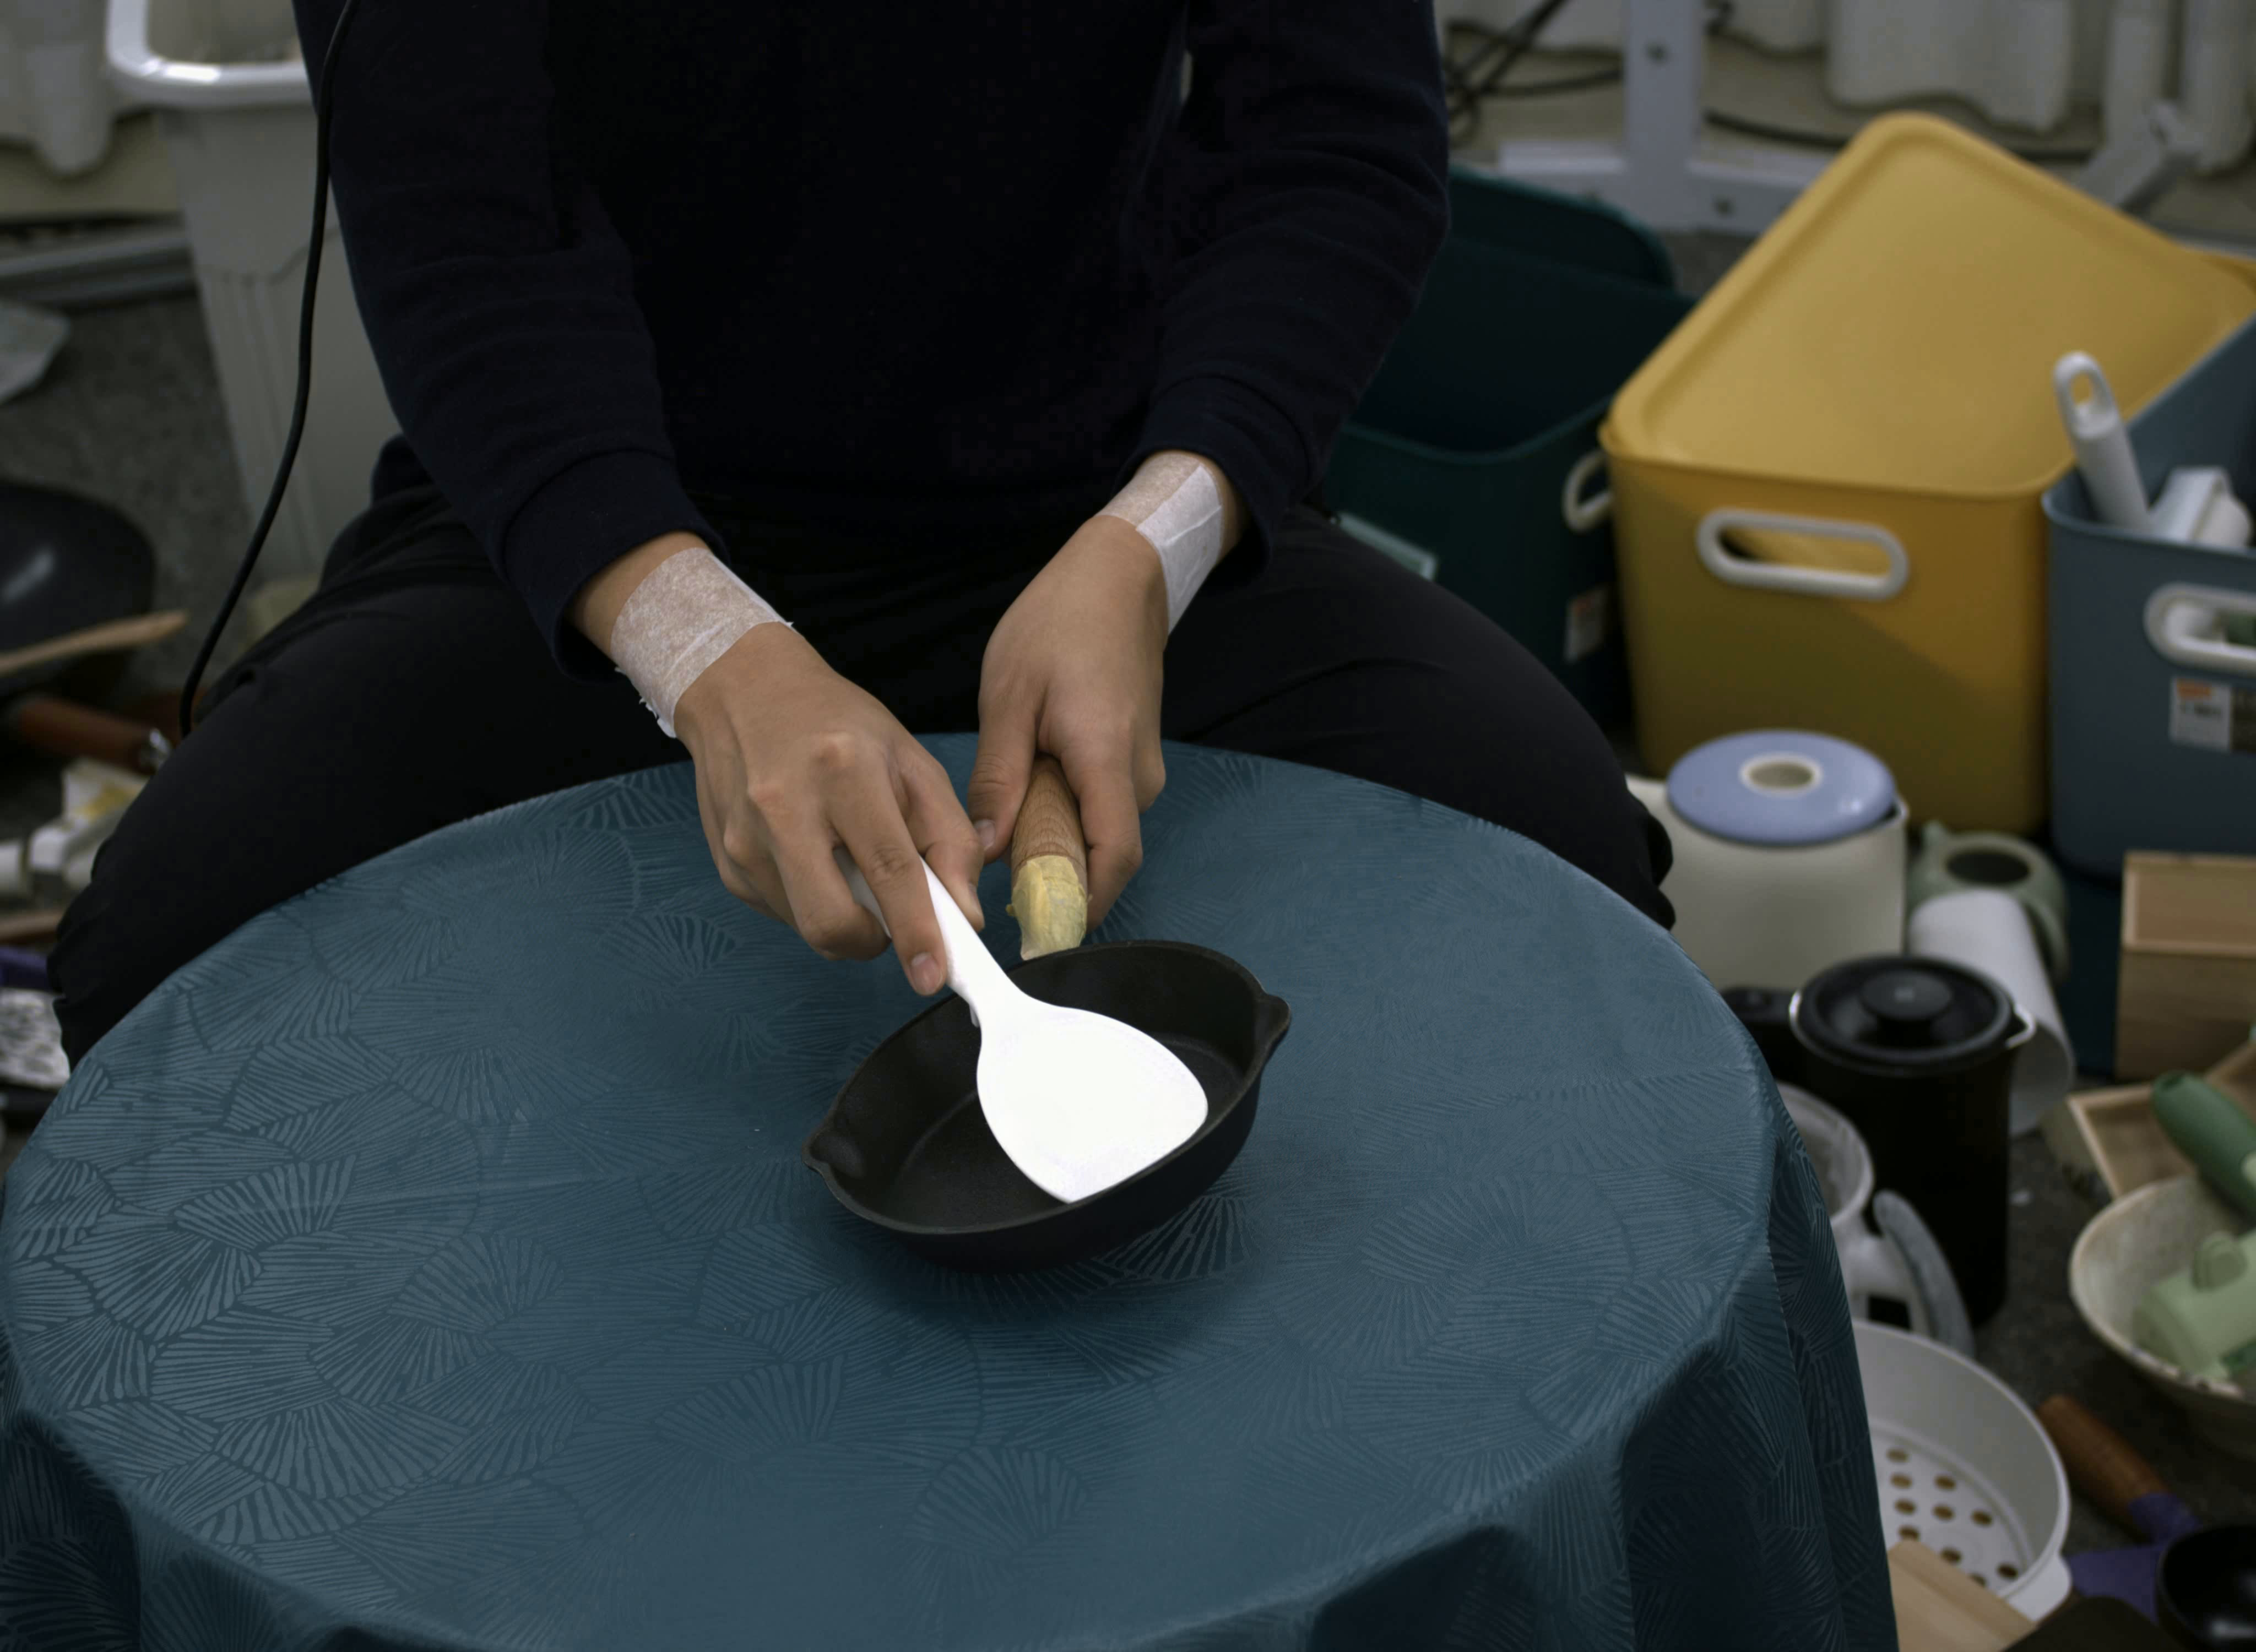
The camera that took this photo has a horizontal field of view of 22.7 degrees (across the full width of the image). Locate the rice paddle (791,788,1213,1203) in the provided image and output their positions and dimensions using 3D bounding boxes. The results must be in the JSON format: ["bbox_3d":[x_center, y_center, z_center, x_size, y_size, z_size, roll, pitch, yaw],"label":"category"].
[{"bbox_3d":[-0.043,0.057,1.861,0.069,0.029,0.206,-28,51,-23],"label":"rice paddle"}]

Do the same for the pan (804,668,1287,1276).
[{"bbox_3d":[-0.024,0.046,1.915,0.167,0.049,0.330,-16,30,11],"label":"pan"}]
